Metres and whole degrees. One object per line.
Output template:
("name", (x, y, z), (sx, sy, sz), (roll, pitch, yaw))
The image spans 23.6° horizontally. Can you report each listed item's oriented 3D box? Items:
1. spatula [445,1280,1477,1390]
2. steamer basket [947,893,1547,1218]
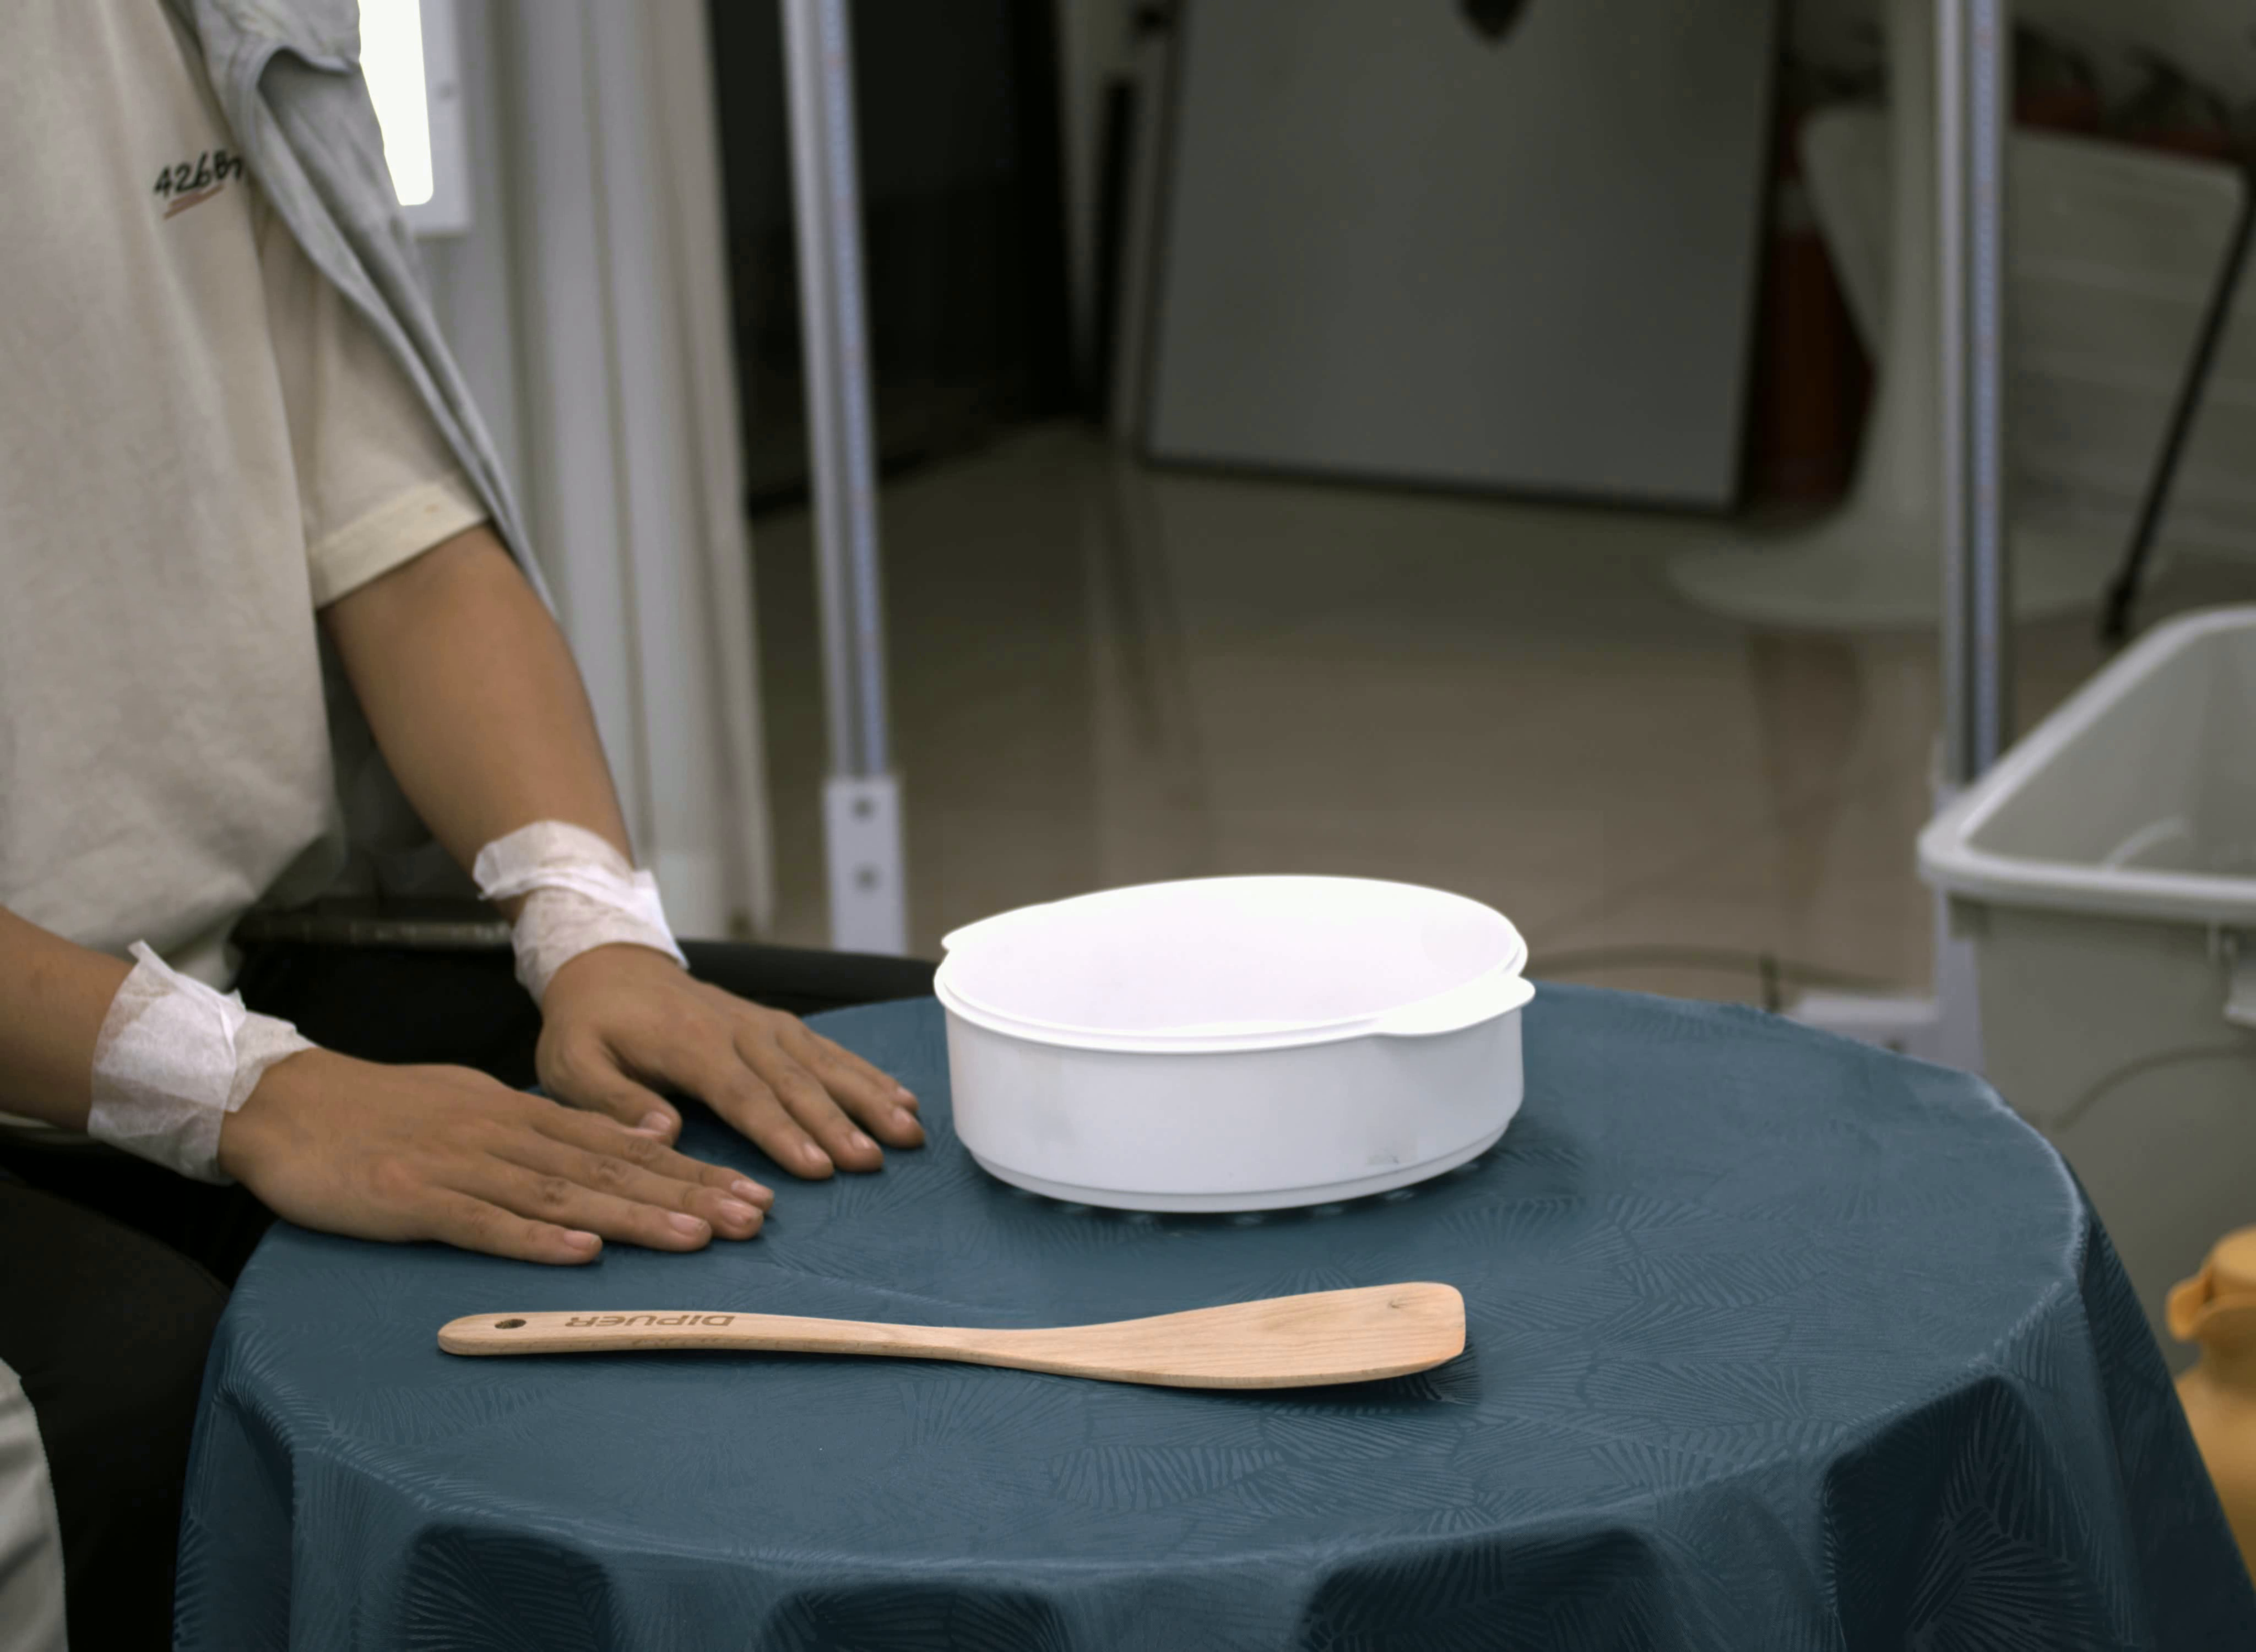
("spatula", (-0.051, 0.153, 1.625), (0.326, 0.017, 0.079), (-1, 13, 14))
("steamer basket", (0.040, 0.077, 1.808), (0.232, 0.070, 0.198), (8, 17, 43))
